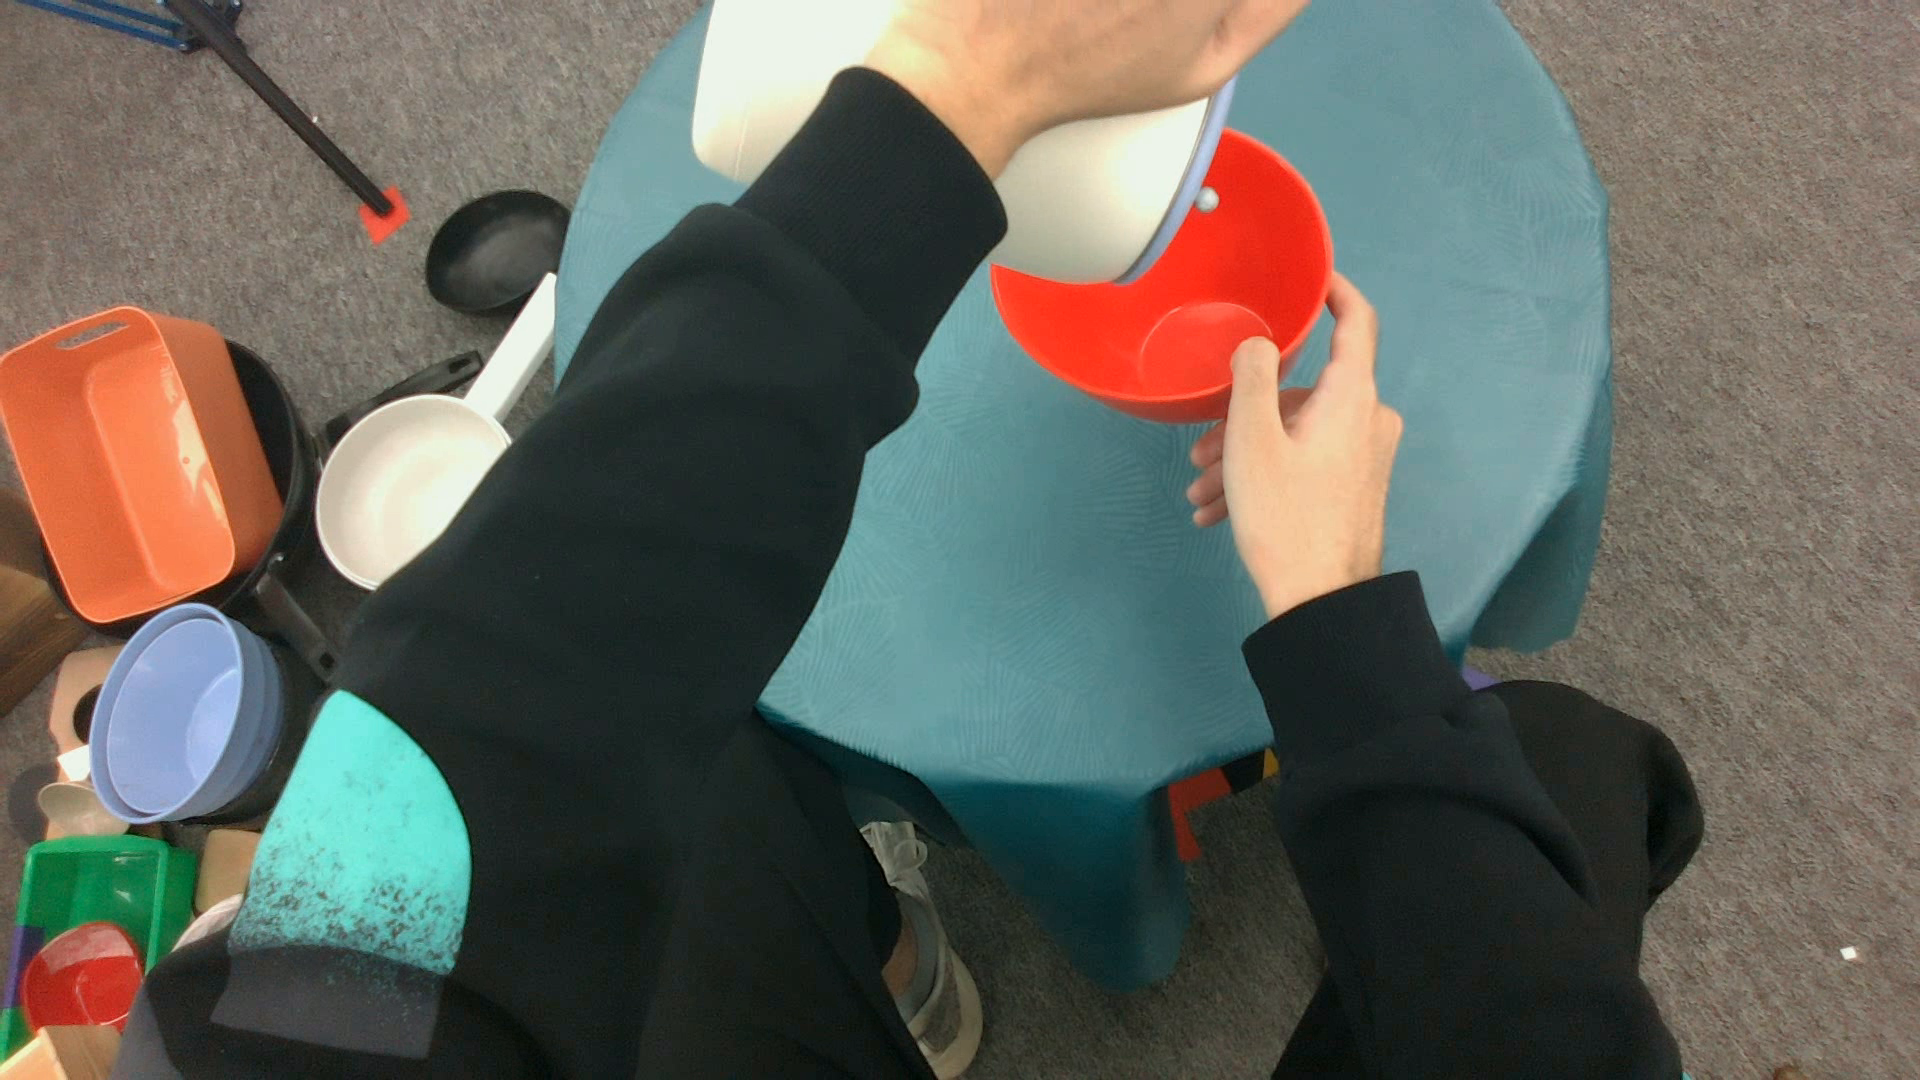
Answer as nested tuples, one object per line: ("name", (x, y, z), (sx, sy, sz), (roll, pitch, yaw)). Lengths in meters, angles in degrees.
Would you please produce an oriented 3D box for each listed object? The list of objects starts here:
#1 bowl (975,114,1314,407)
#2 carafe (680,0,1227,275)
("bowl", (0.092, -0.118, 0.646), (0.148, 0.104, 0.148), (-7, 64, 14))
("carafe", (0.000, -0.181, 0.485), (0.182, 0.191, 0.132), (14, 83, -11))
